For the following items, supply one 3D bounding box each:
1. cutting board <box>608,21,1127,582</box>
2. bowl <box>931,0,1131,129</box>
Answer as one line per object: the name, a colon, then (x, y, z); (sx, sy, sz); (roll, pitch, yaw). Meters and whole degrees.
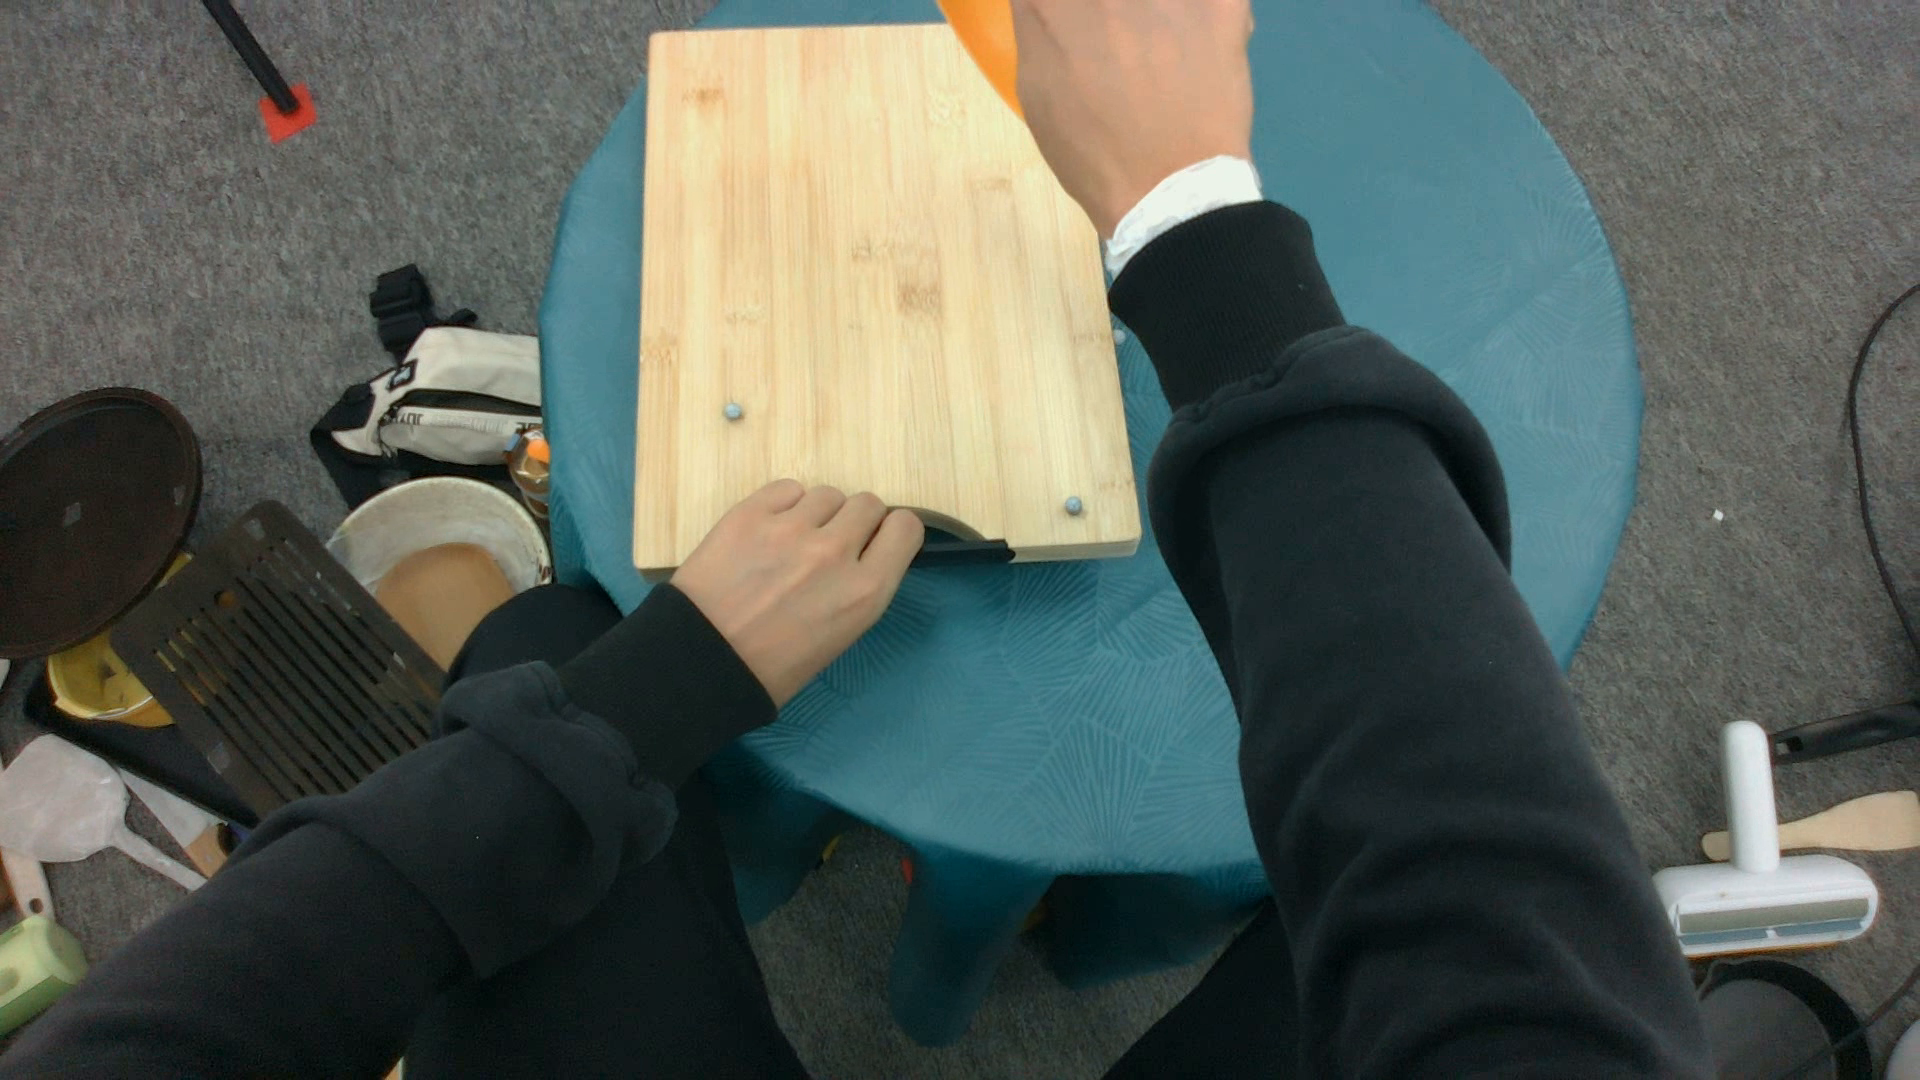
cutting board: (-0.055, -0.143, 0.724); (0.251, 0.023, 0.350); (-4, 63, -5)
bowl: (0.029, -0.250, 0.578); (0.060, 0.145, 0.145); (-39, 76, -4)
